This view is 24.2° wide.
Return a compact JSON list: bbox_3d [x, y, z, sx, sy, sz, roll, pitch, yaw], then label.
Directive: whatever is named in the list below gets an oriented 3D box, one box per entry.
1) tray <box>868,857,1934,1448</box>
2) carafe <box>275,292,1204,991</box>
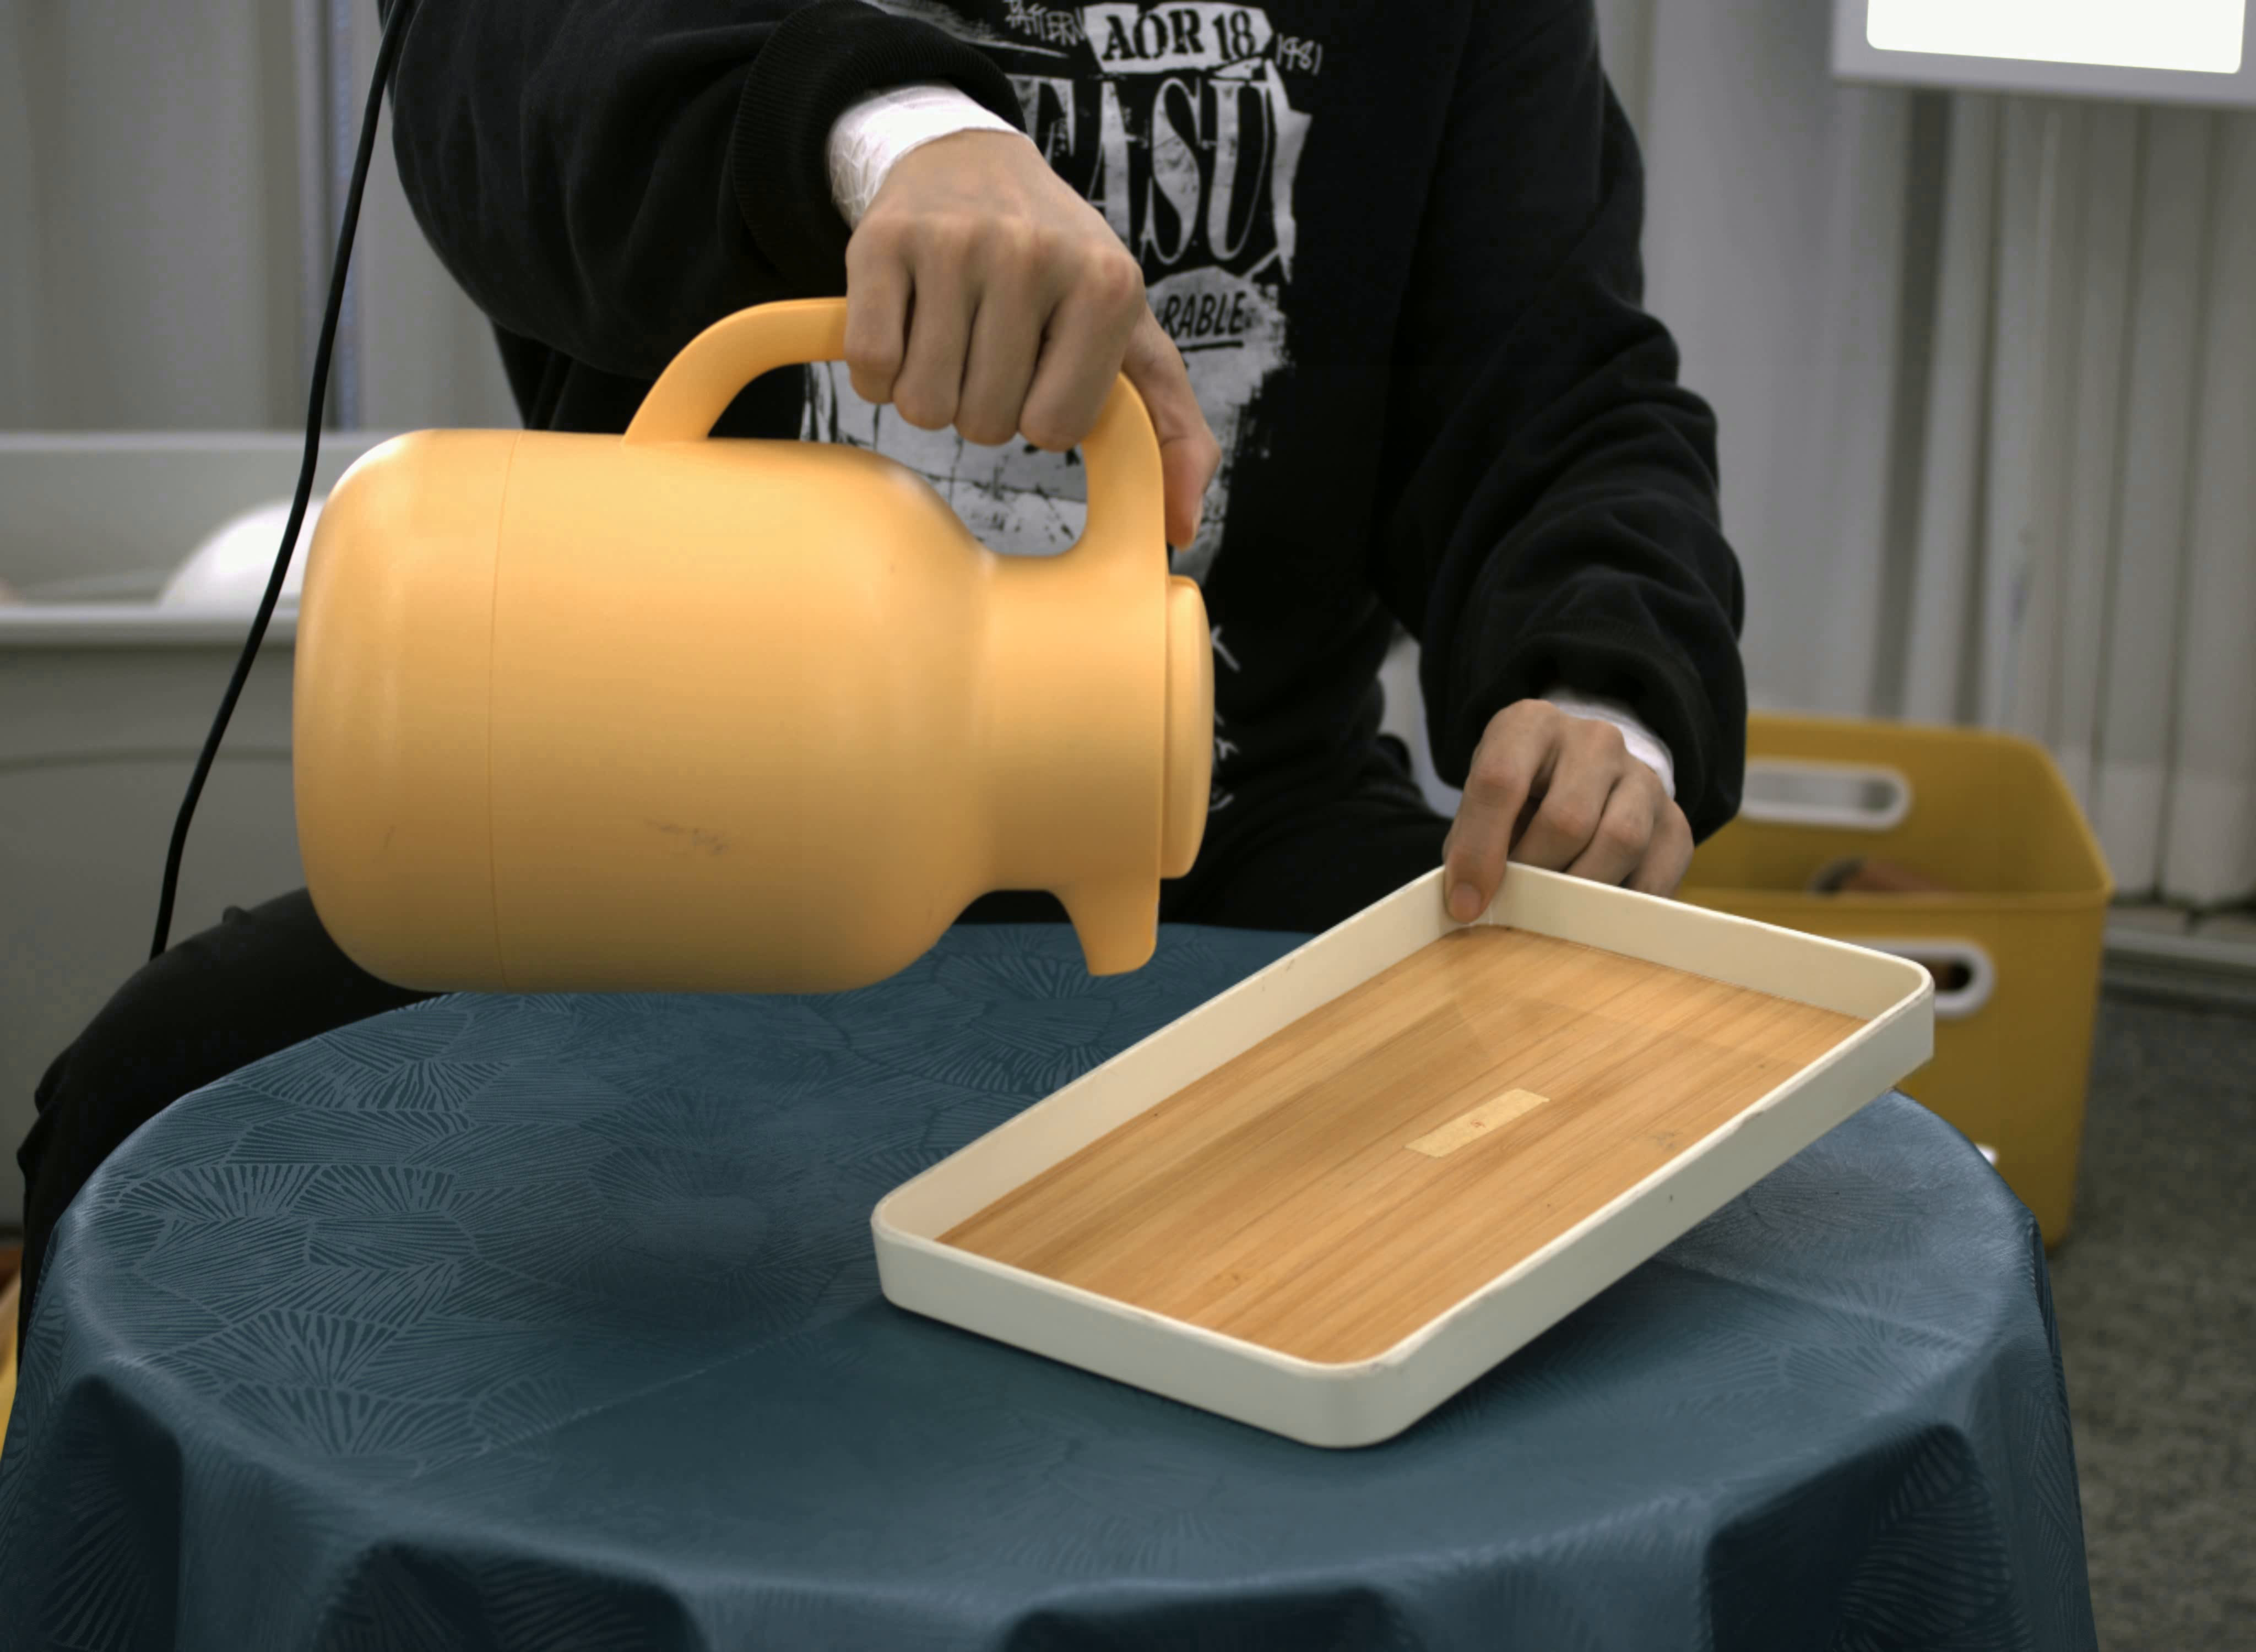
[{"bbox_3d":[0.086,0.090,1.567,0.189,0.028,0.301,15,30,38],"label":"tray"},{"bbox_3d":[-0.107,-0.053,1.512,0.260,0.203,0.163,3,5,-2],"label":"carafe"}]
